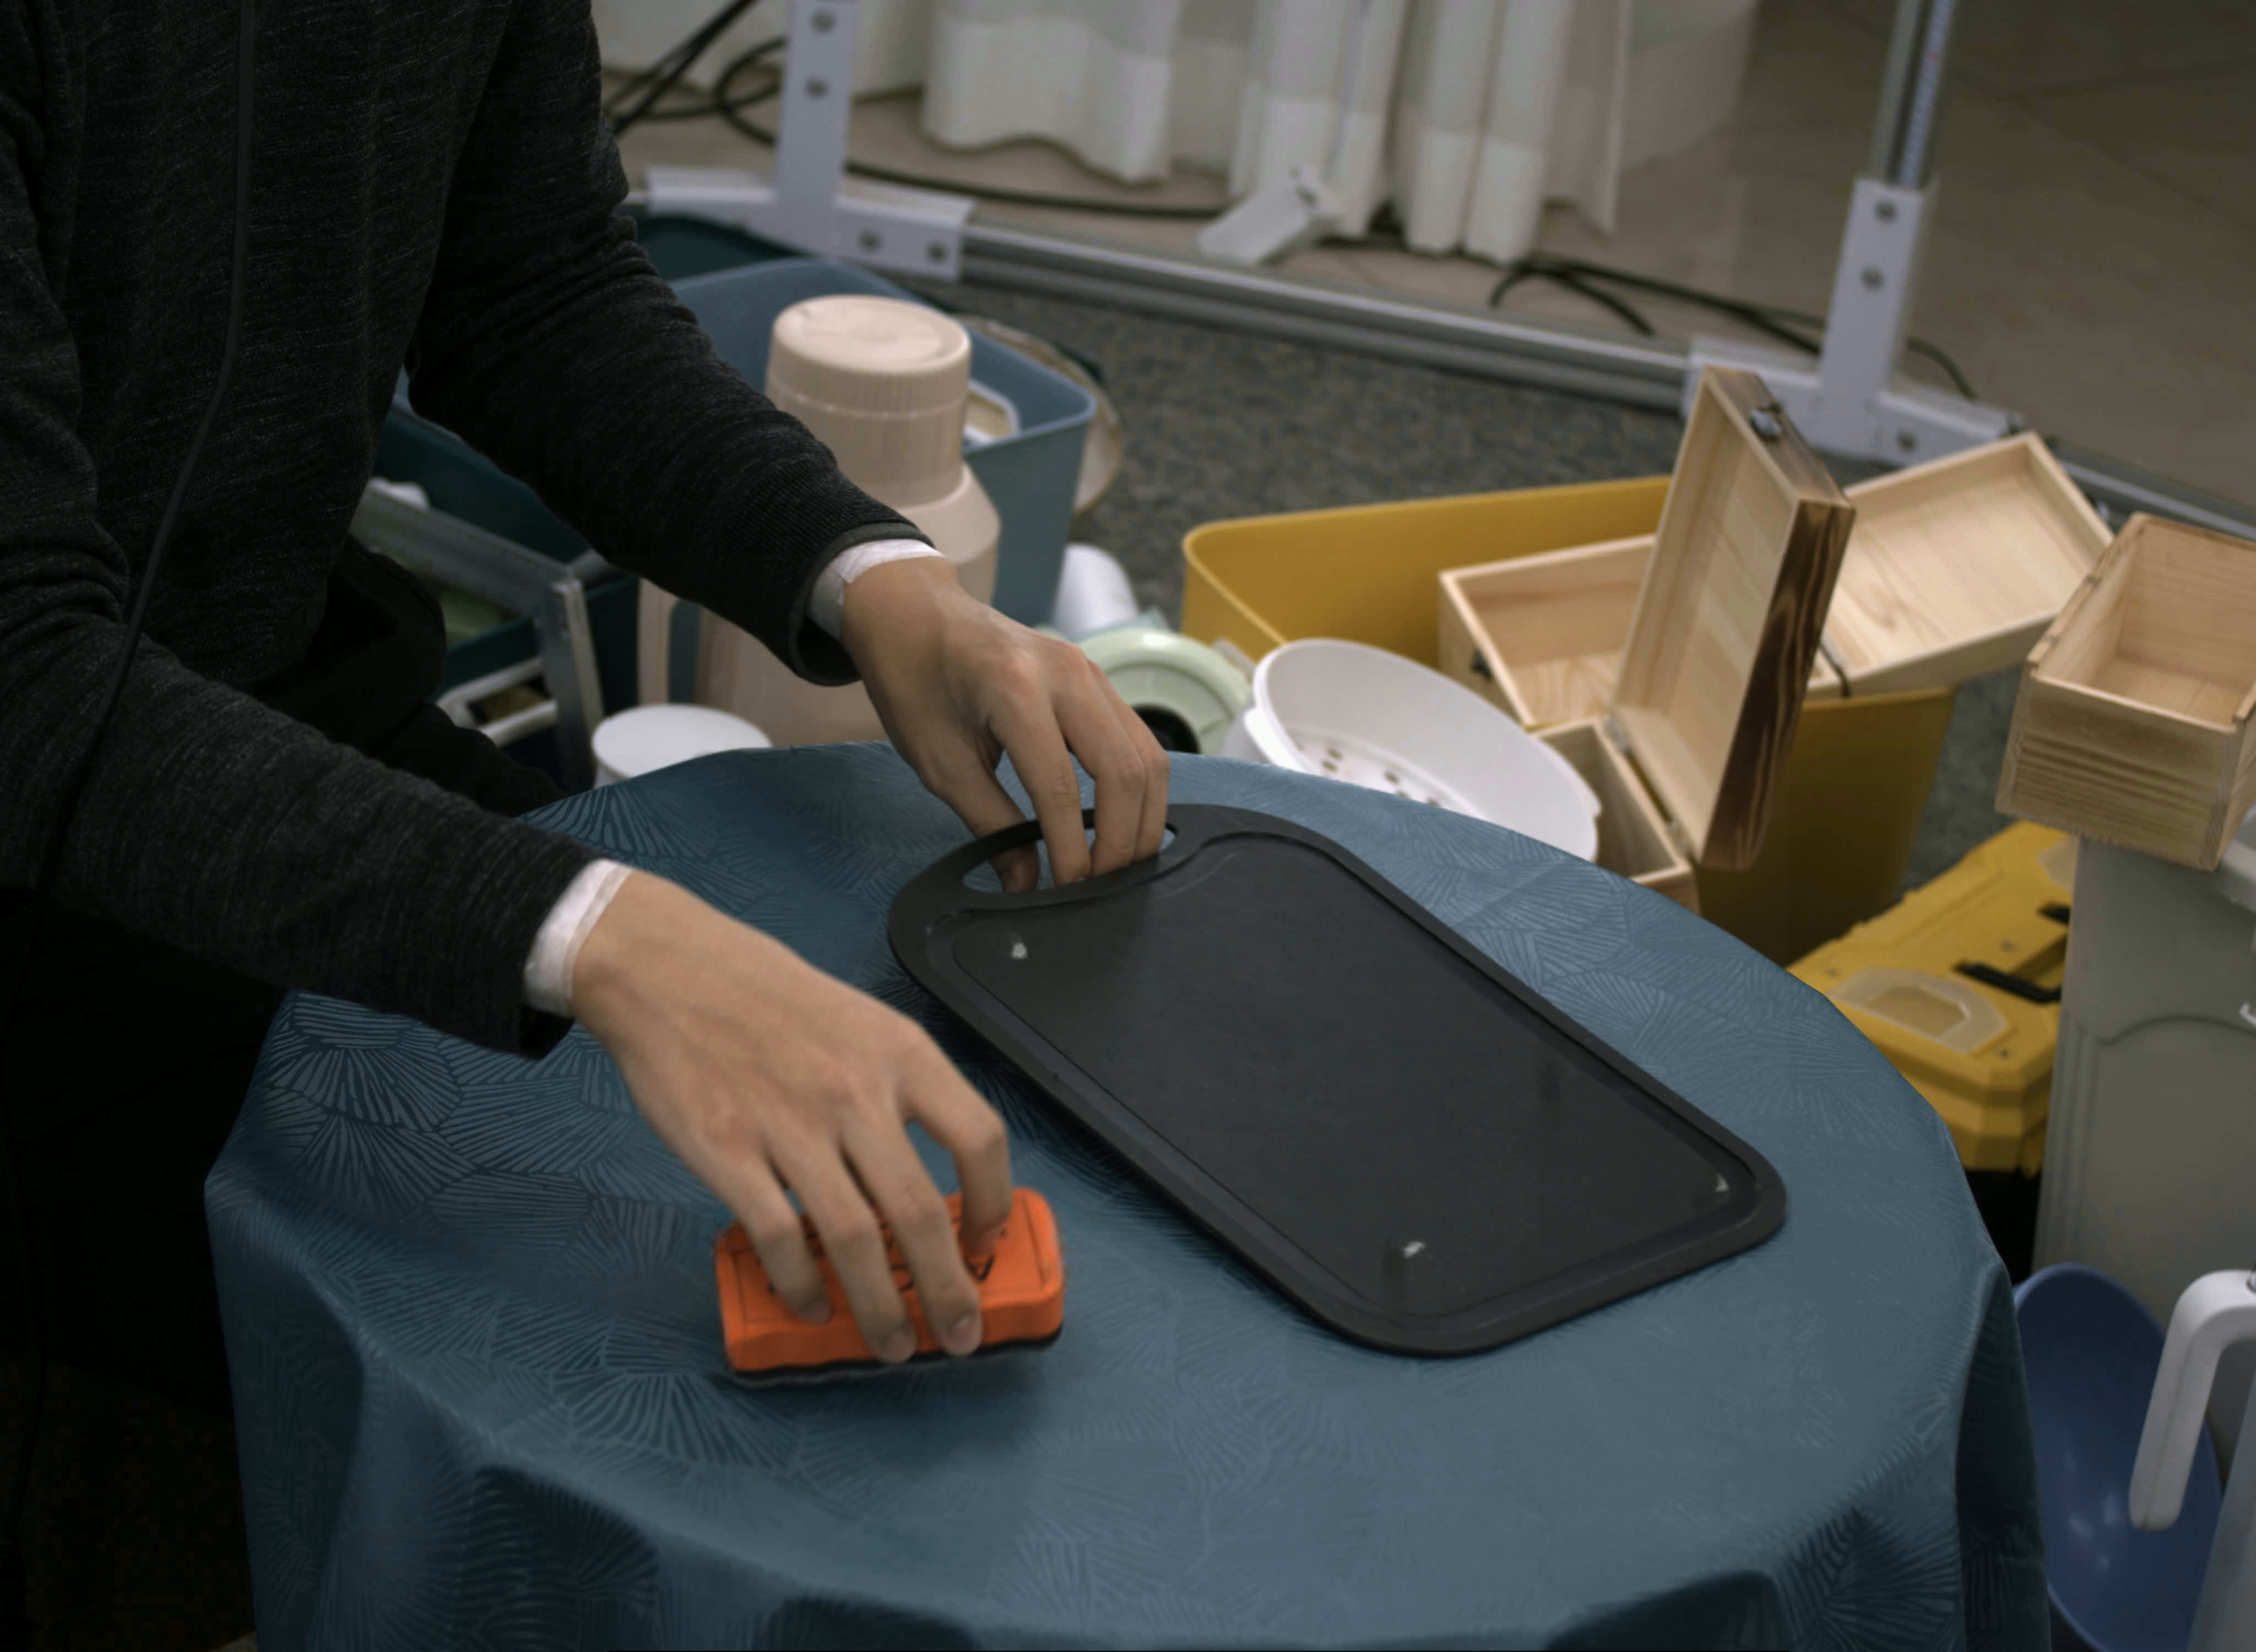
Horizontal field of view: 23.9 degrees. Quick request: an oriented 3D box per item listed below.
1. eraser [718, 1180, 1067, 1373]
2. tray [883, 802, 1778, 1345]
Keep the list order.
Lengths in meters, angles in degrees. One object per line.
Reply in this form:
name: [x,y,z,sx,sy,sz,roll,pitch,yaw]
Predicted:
eraser: [-0.075,0.143,1.687,0.107,0.023,0.059,-6,35,-5]
tray: [0.063,0.077,1.873,0.210,0.010,0.328,-15,38,-37]
